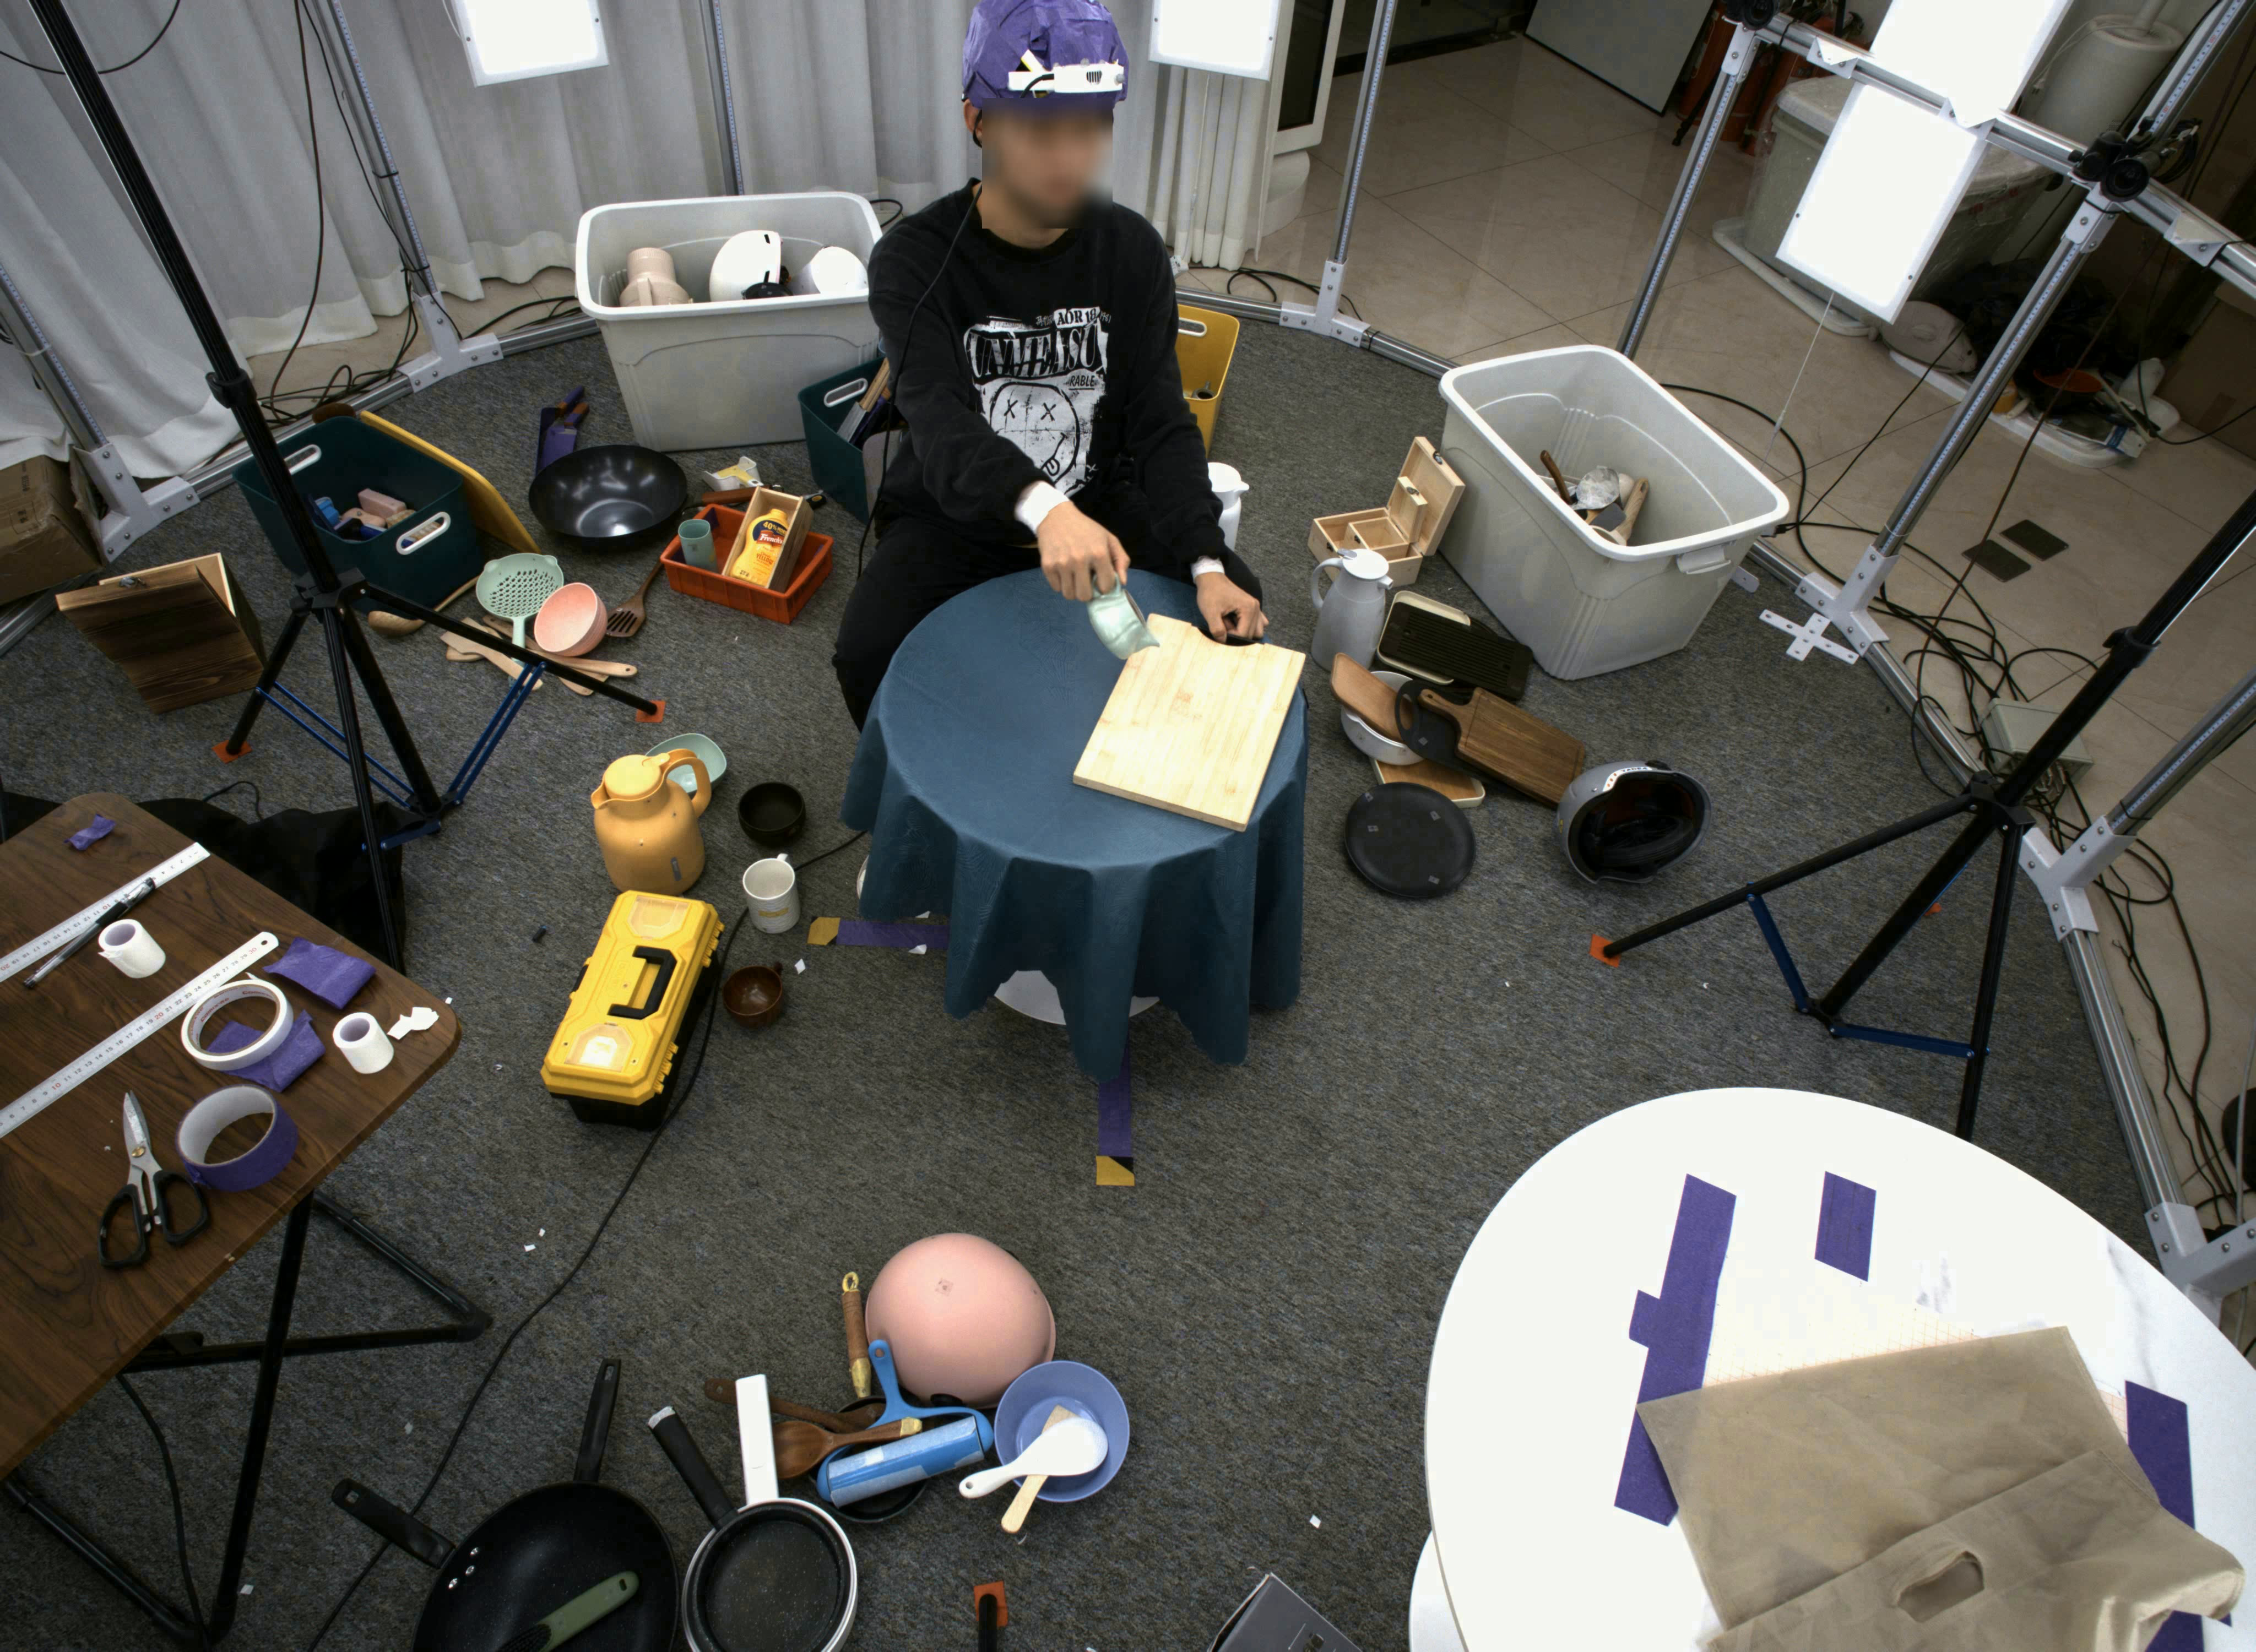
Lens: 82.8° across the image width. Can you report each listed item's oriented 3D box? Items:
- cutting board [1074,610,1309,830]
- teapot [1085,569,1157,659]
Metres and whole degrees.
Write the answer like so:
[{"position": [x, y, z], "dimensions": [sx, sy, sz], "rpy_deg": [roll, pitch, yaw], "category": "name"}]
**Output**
[{"position": [0.095, -0.158, 1.796], "dimensions": [0.251, 0.023, 0.356], "rpy_deg": [15, 51, 9], "category": "cutting board"}, {"position": [-0.016, -0.265, 1.627], "dimensions": [0.061, 0.134, 0.098], "rpy_deg": [-27, 38, 10], "category": "teapot"}]
